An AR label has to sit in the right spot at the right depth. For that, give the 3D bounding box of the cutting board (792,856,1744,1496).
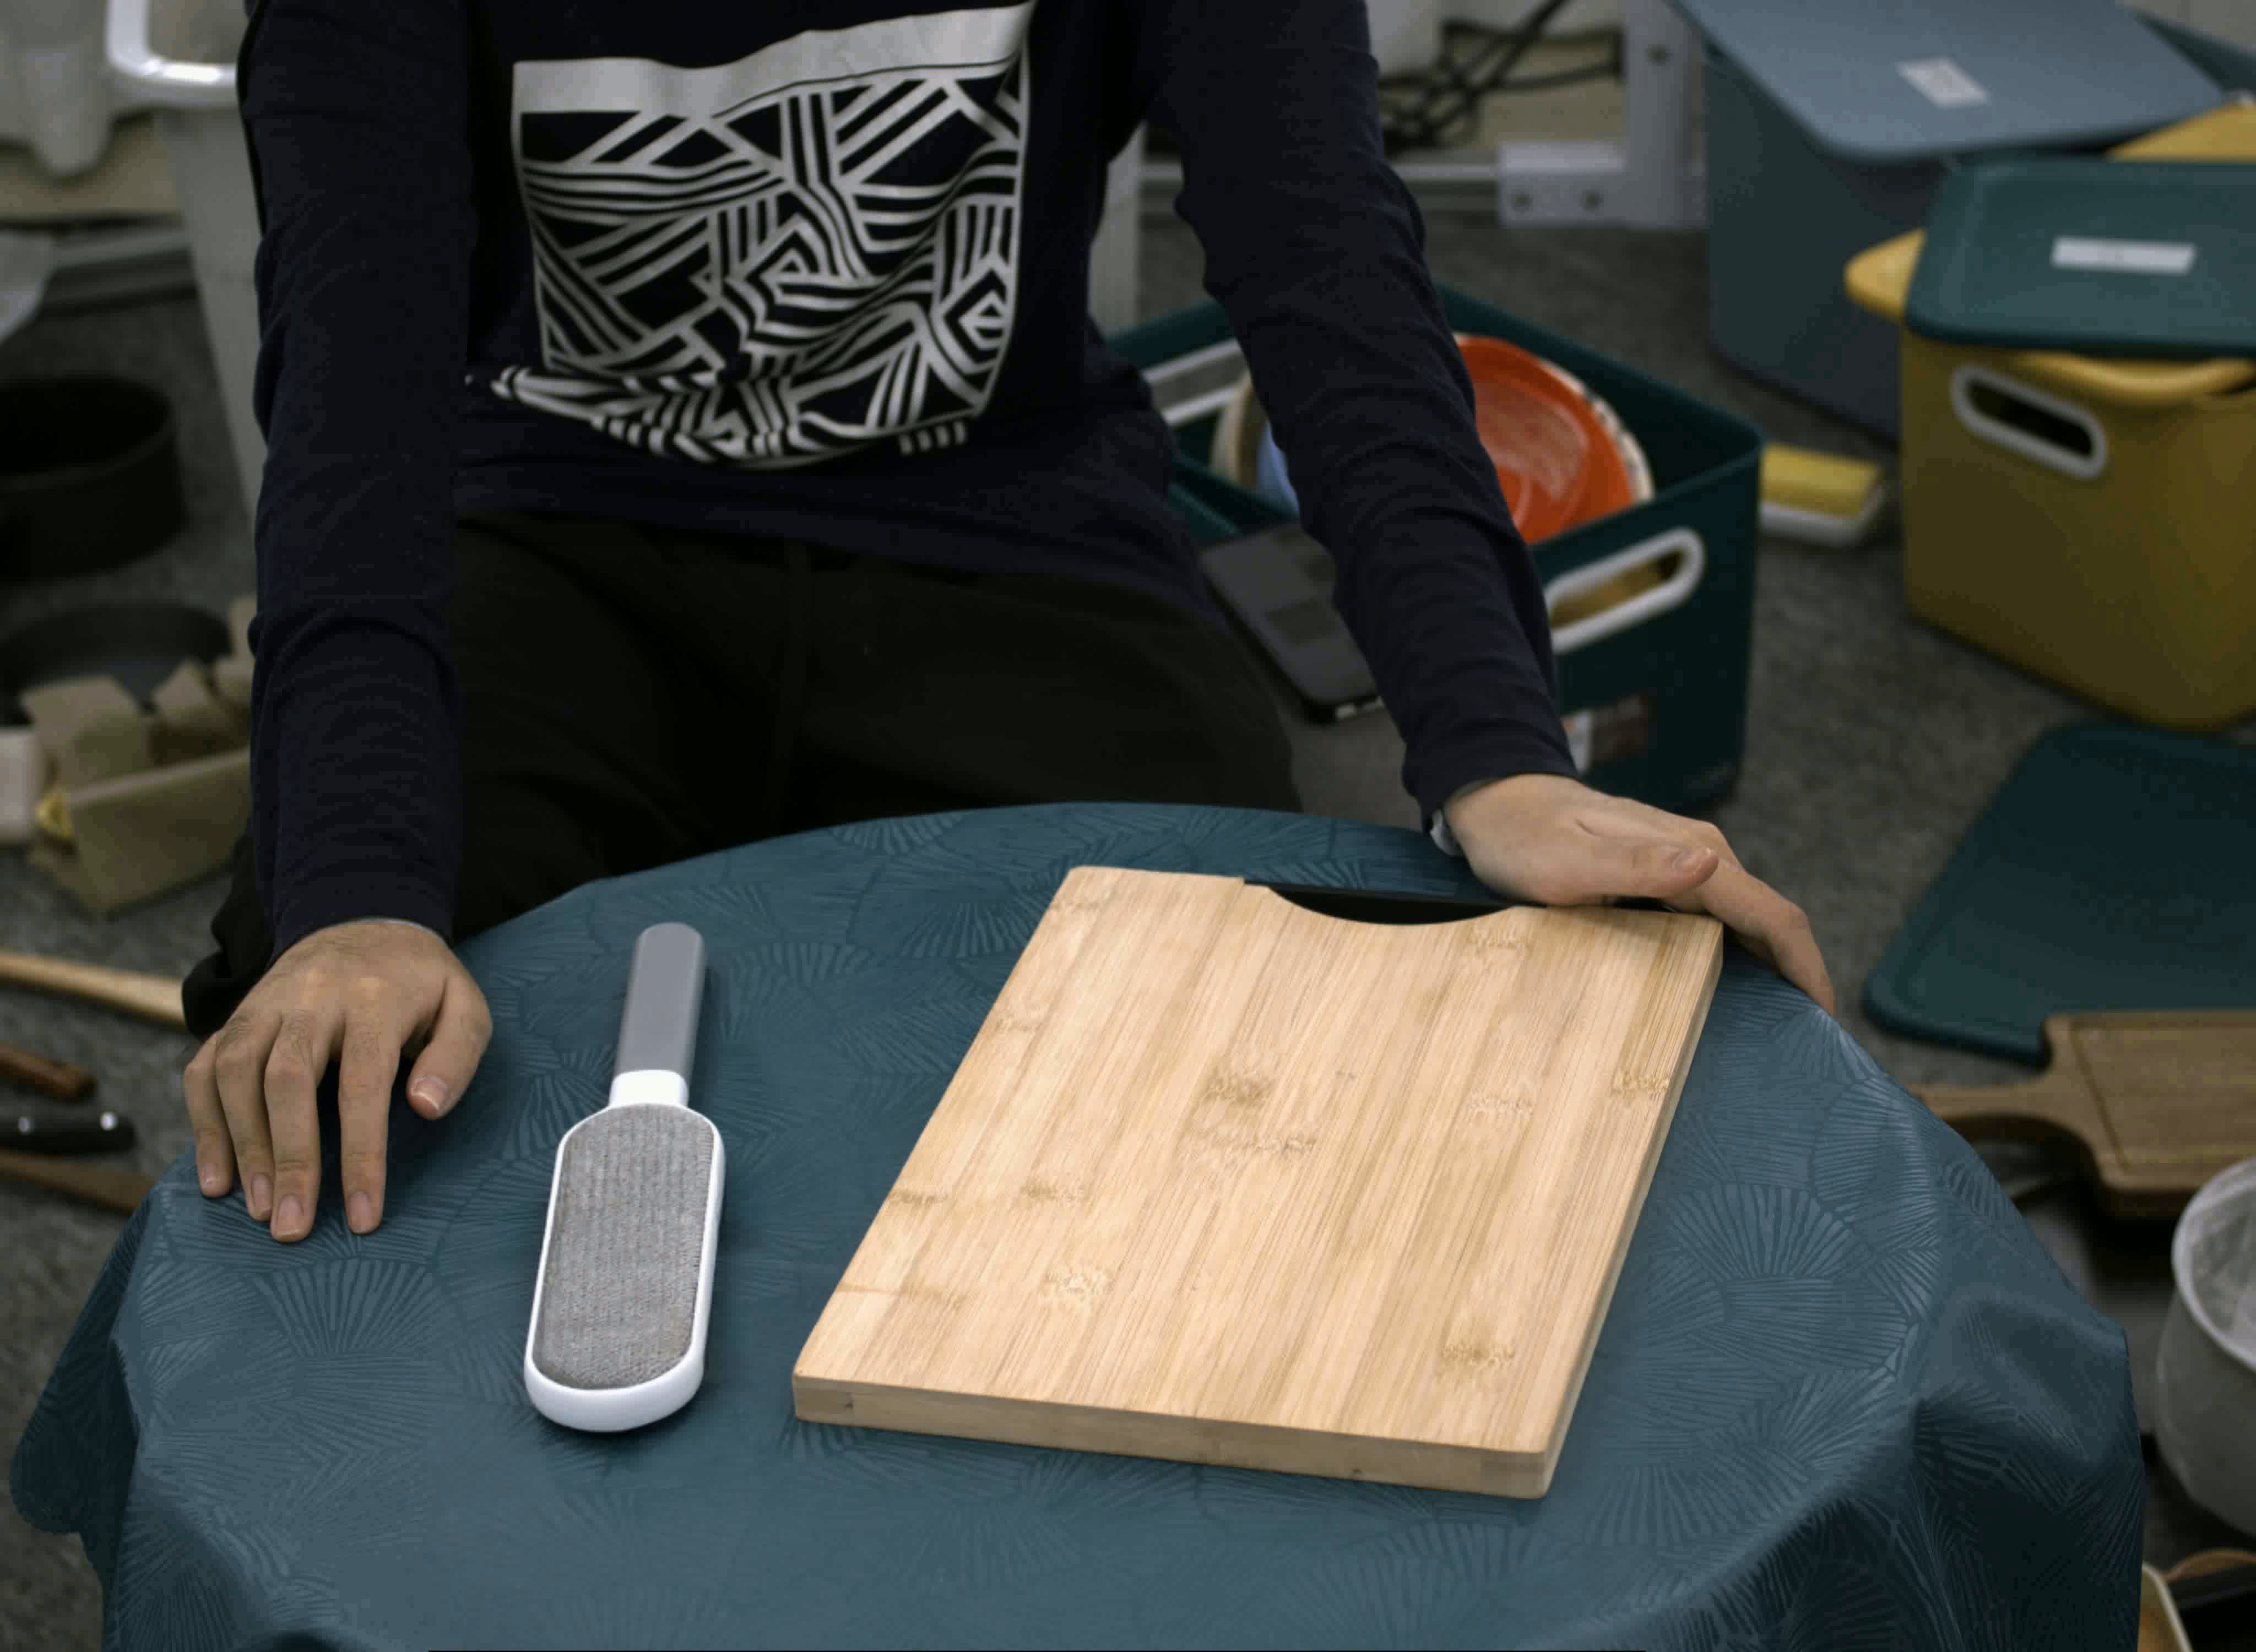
[{"bbox_3d":[0.055,0.107,1.867,0.249,0.023,0.354,5,28,13],"label":"cutting board"}]

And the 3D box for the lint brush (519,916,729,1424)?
[{"bbox_3d":[-0.162,0.109,1.871,0.060,0.021,0.313,-7,27,3],"label":"lint brush"}]
